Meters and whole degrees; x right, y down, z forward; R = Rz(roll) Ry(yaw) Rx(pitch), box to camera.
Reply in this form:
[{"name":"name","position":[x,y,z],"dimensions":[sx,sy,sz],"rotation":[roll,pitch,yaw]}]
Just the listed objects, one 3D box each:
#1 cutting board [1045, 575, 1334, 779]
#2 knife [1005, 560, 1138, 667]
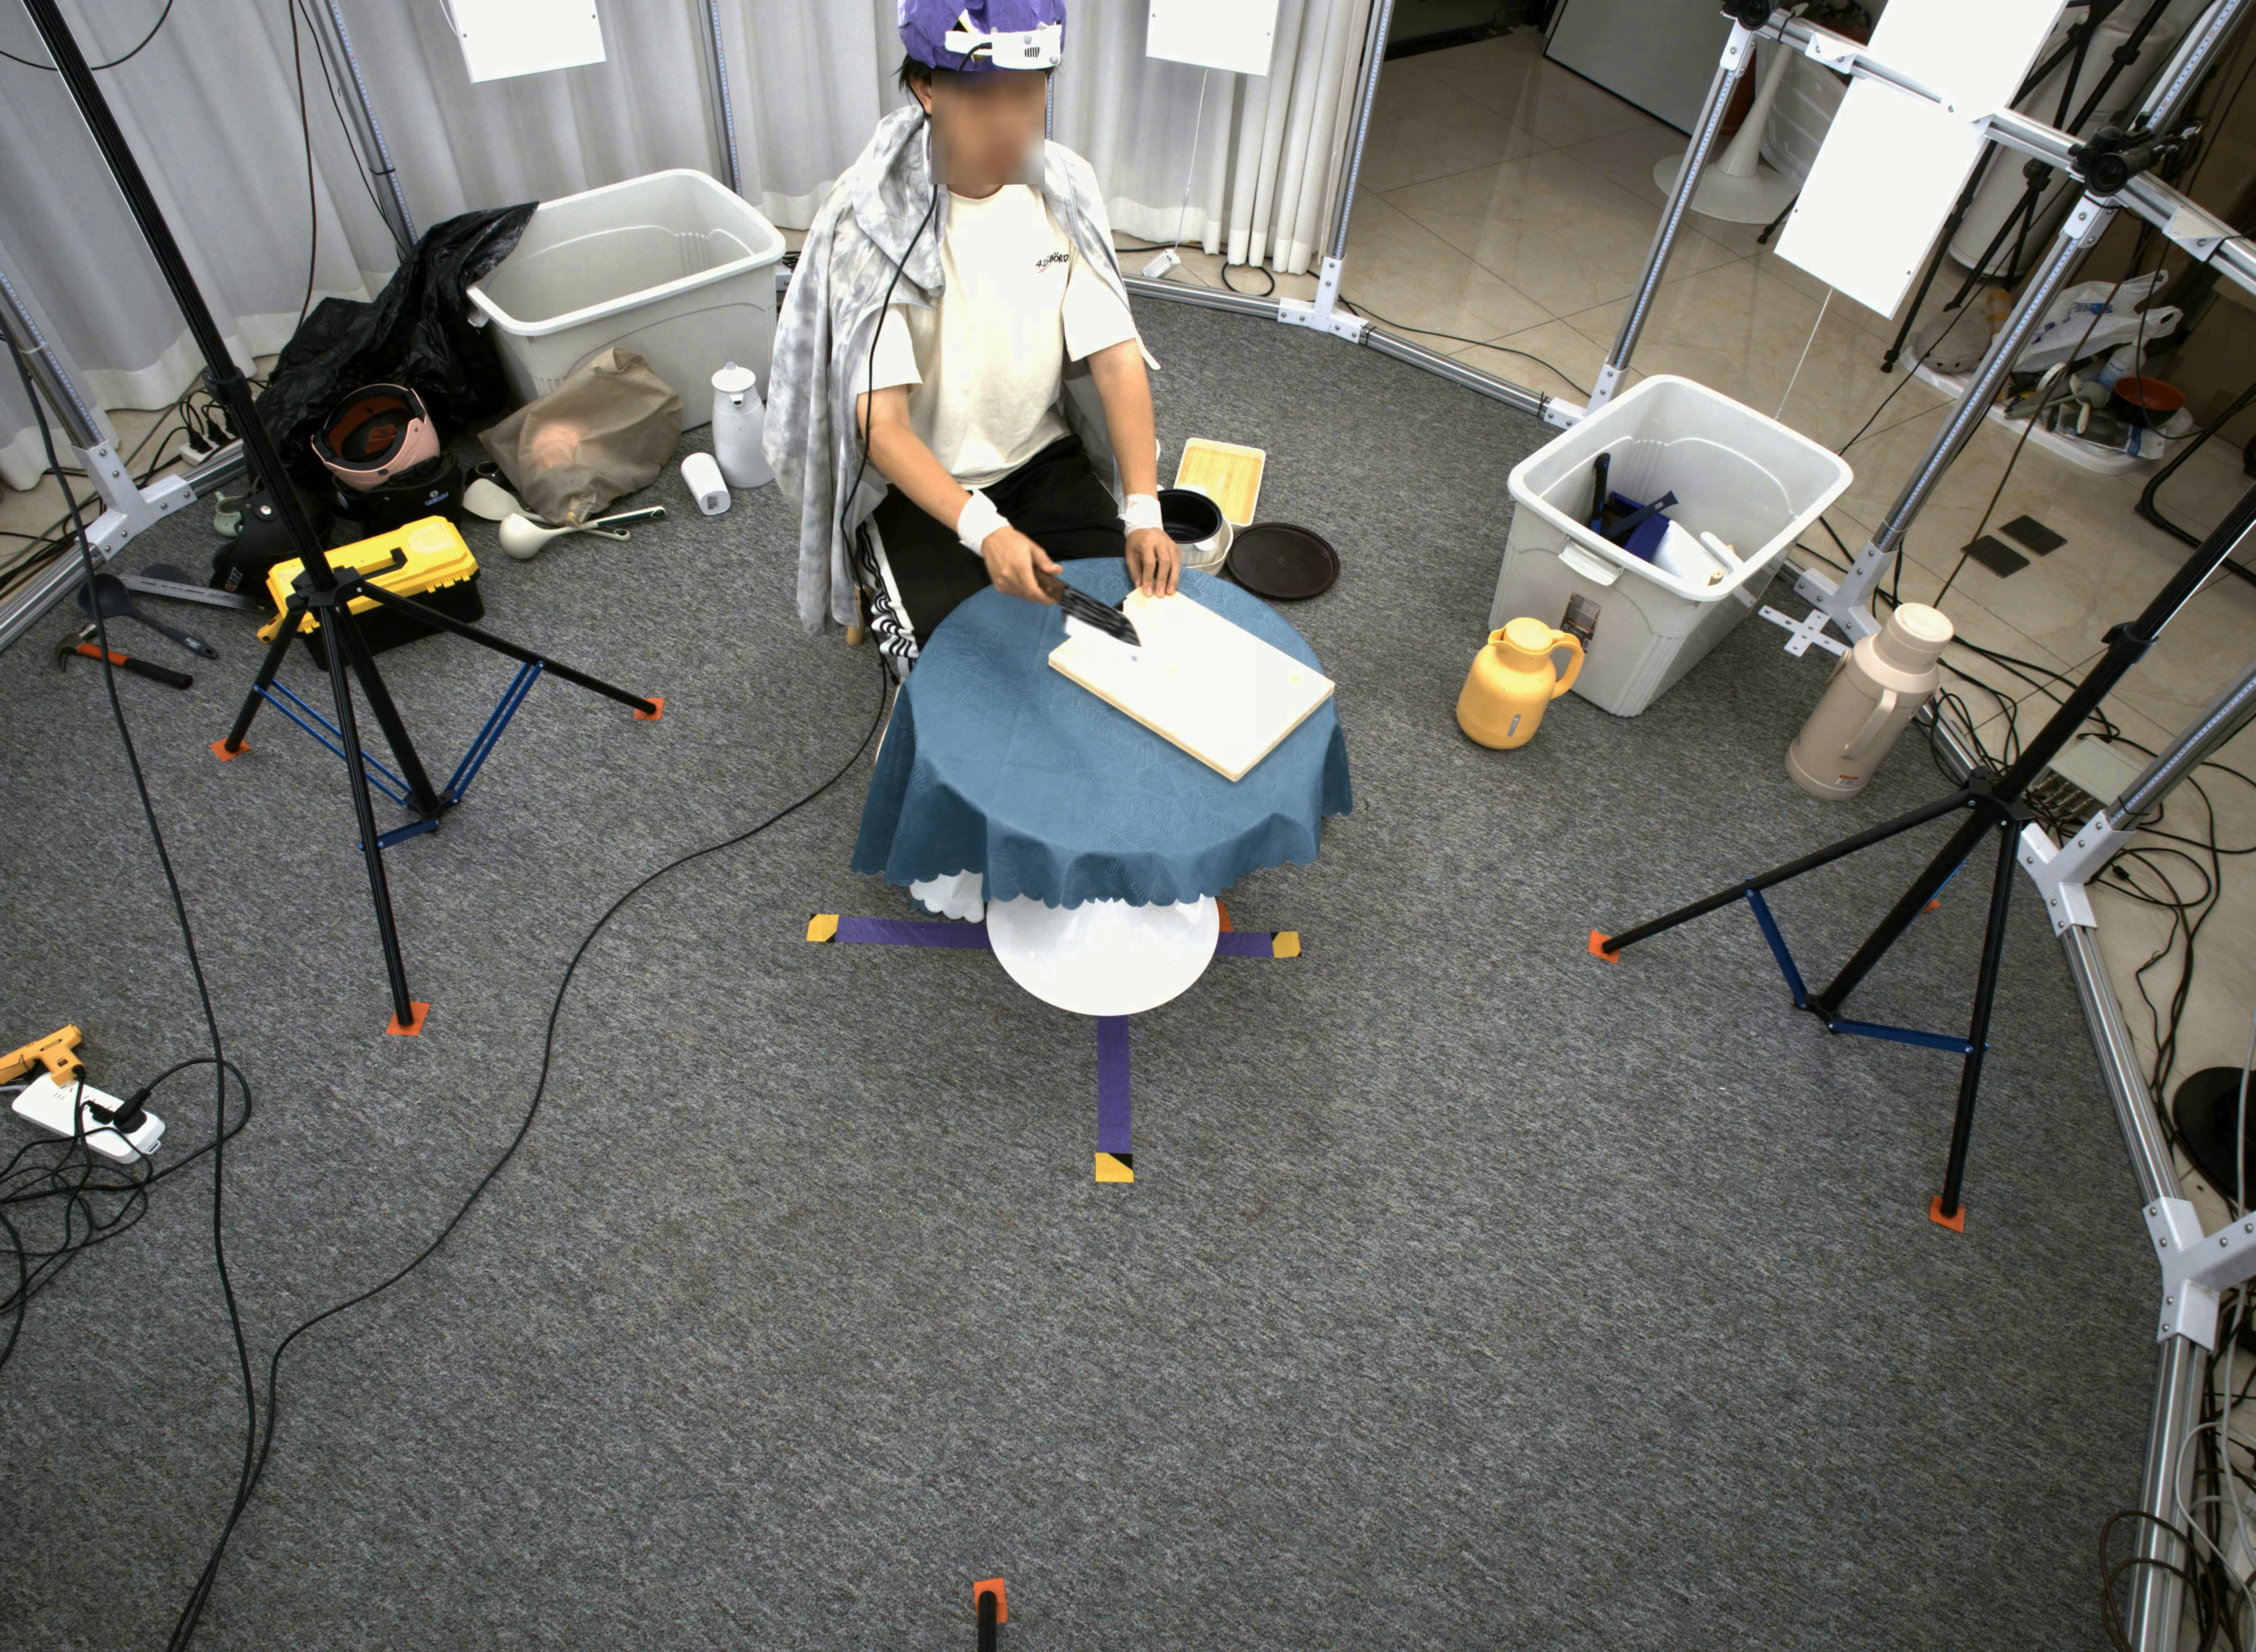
[{"name":"cutting board","position":[0.087,-0.223,1.850],"dimensions":[0.353,0.023,0.254],"rotation":[33,54,23]},{"name":"knife","position":[-0.078,-0.290,1.744],"dimensions":[0.024,0.067,0.305],"rotation":[-10,32,-39]}]
